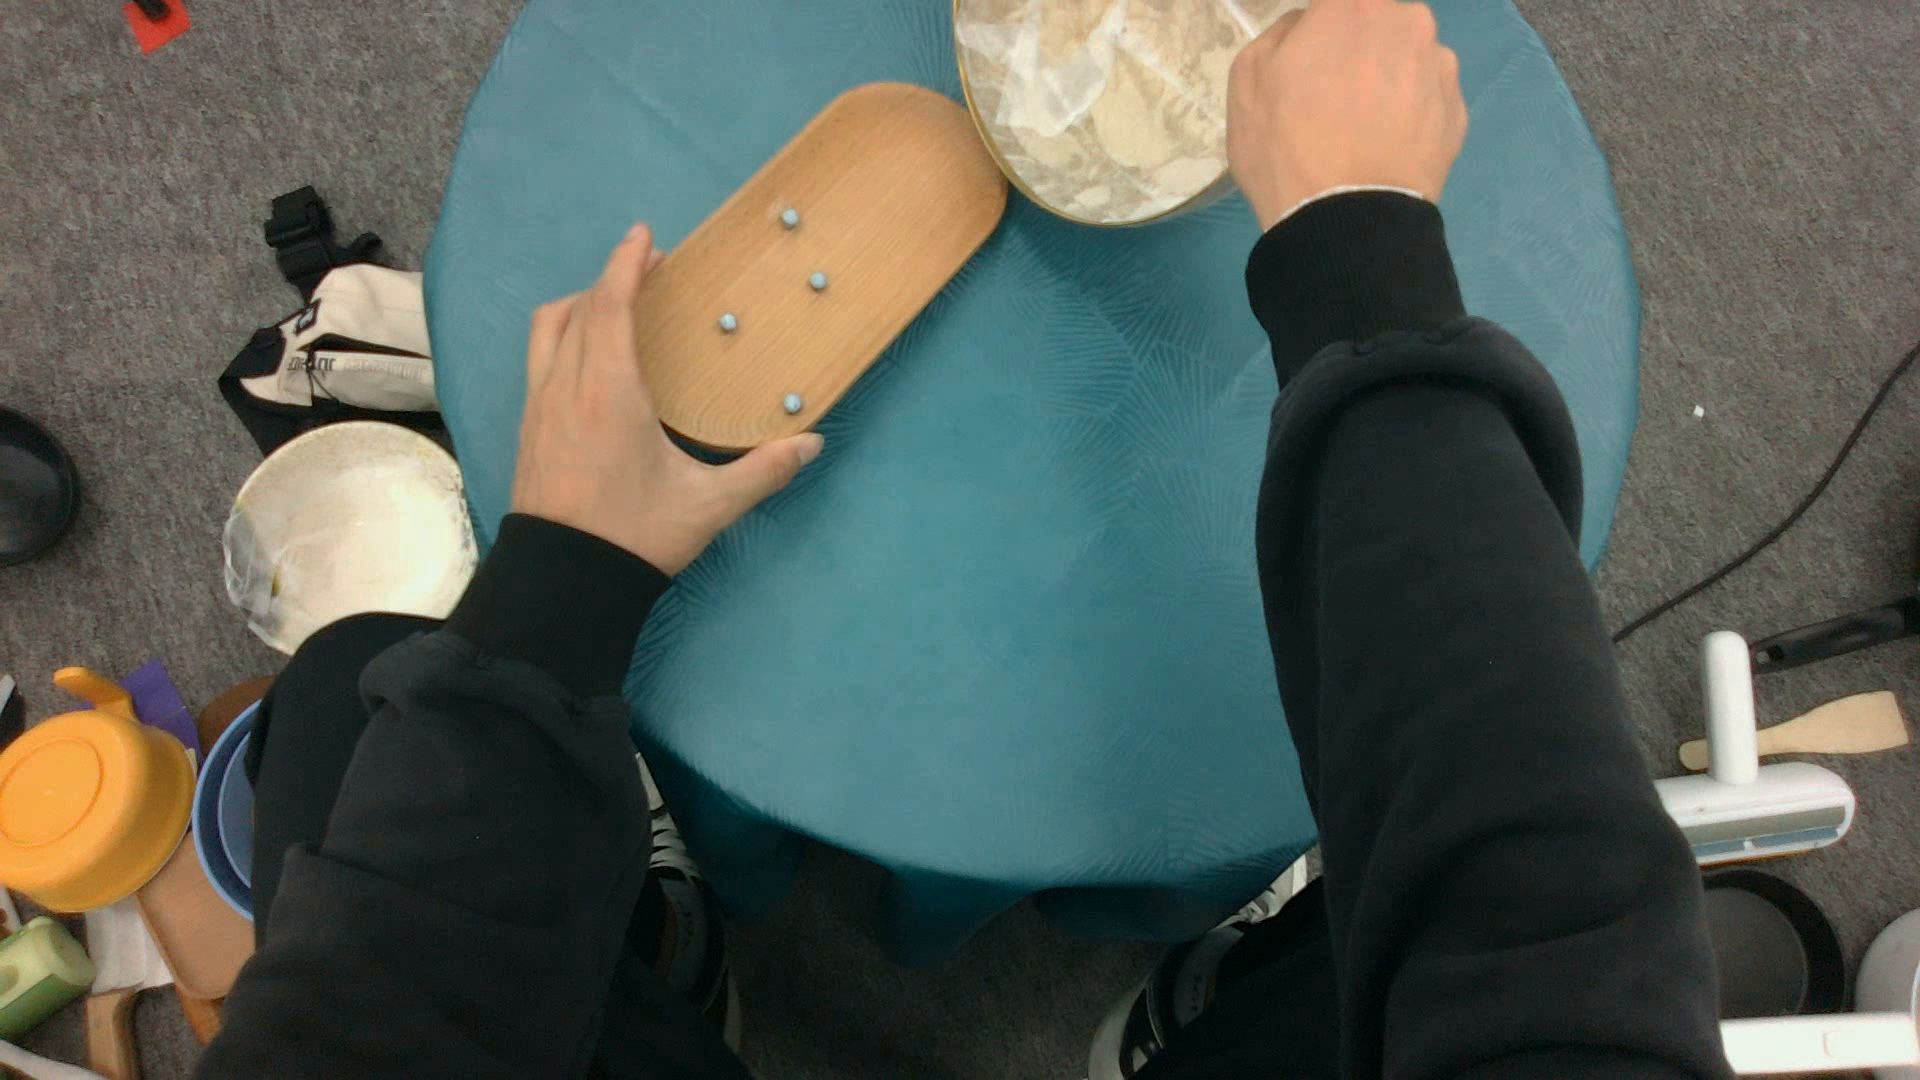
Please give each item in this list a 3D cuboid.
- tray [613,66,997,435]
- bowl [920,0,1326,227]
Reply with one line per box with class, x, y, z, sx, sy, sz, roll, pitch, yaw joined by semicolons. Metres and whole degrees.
tray;-0.068;-0.140;0.650;0.101;0.020;0.232;38;64;0
bowl;0.084;-0.248;0.630;0.095;0.213;0.215;-14;73;-46
